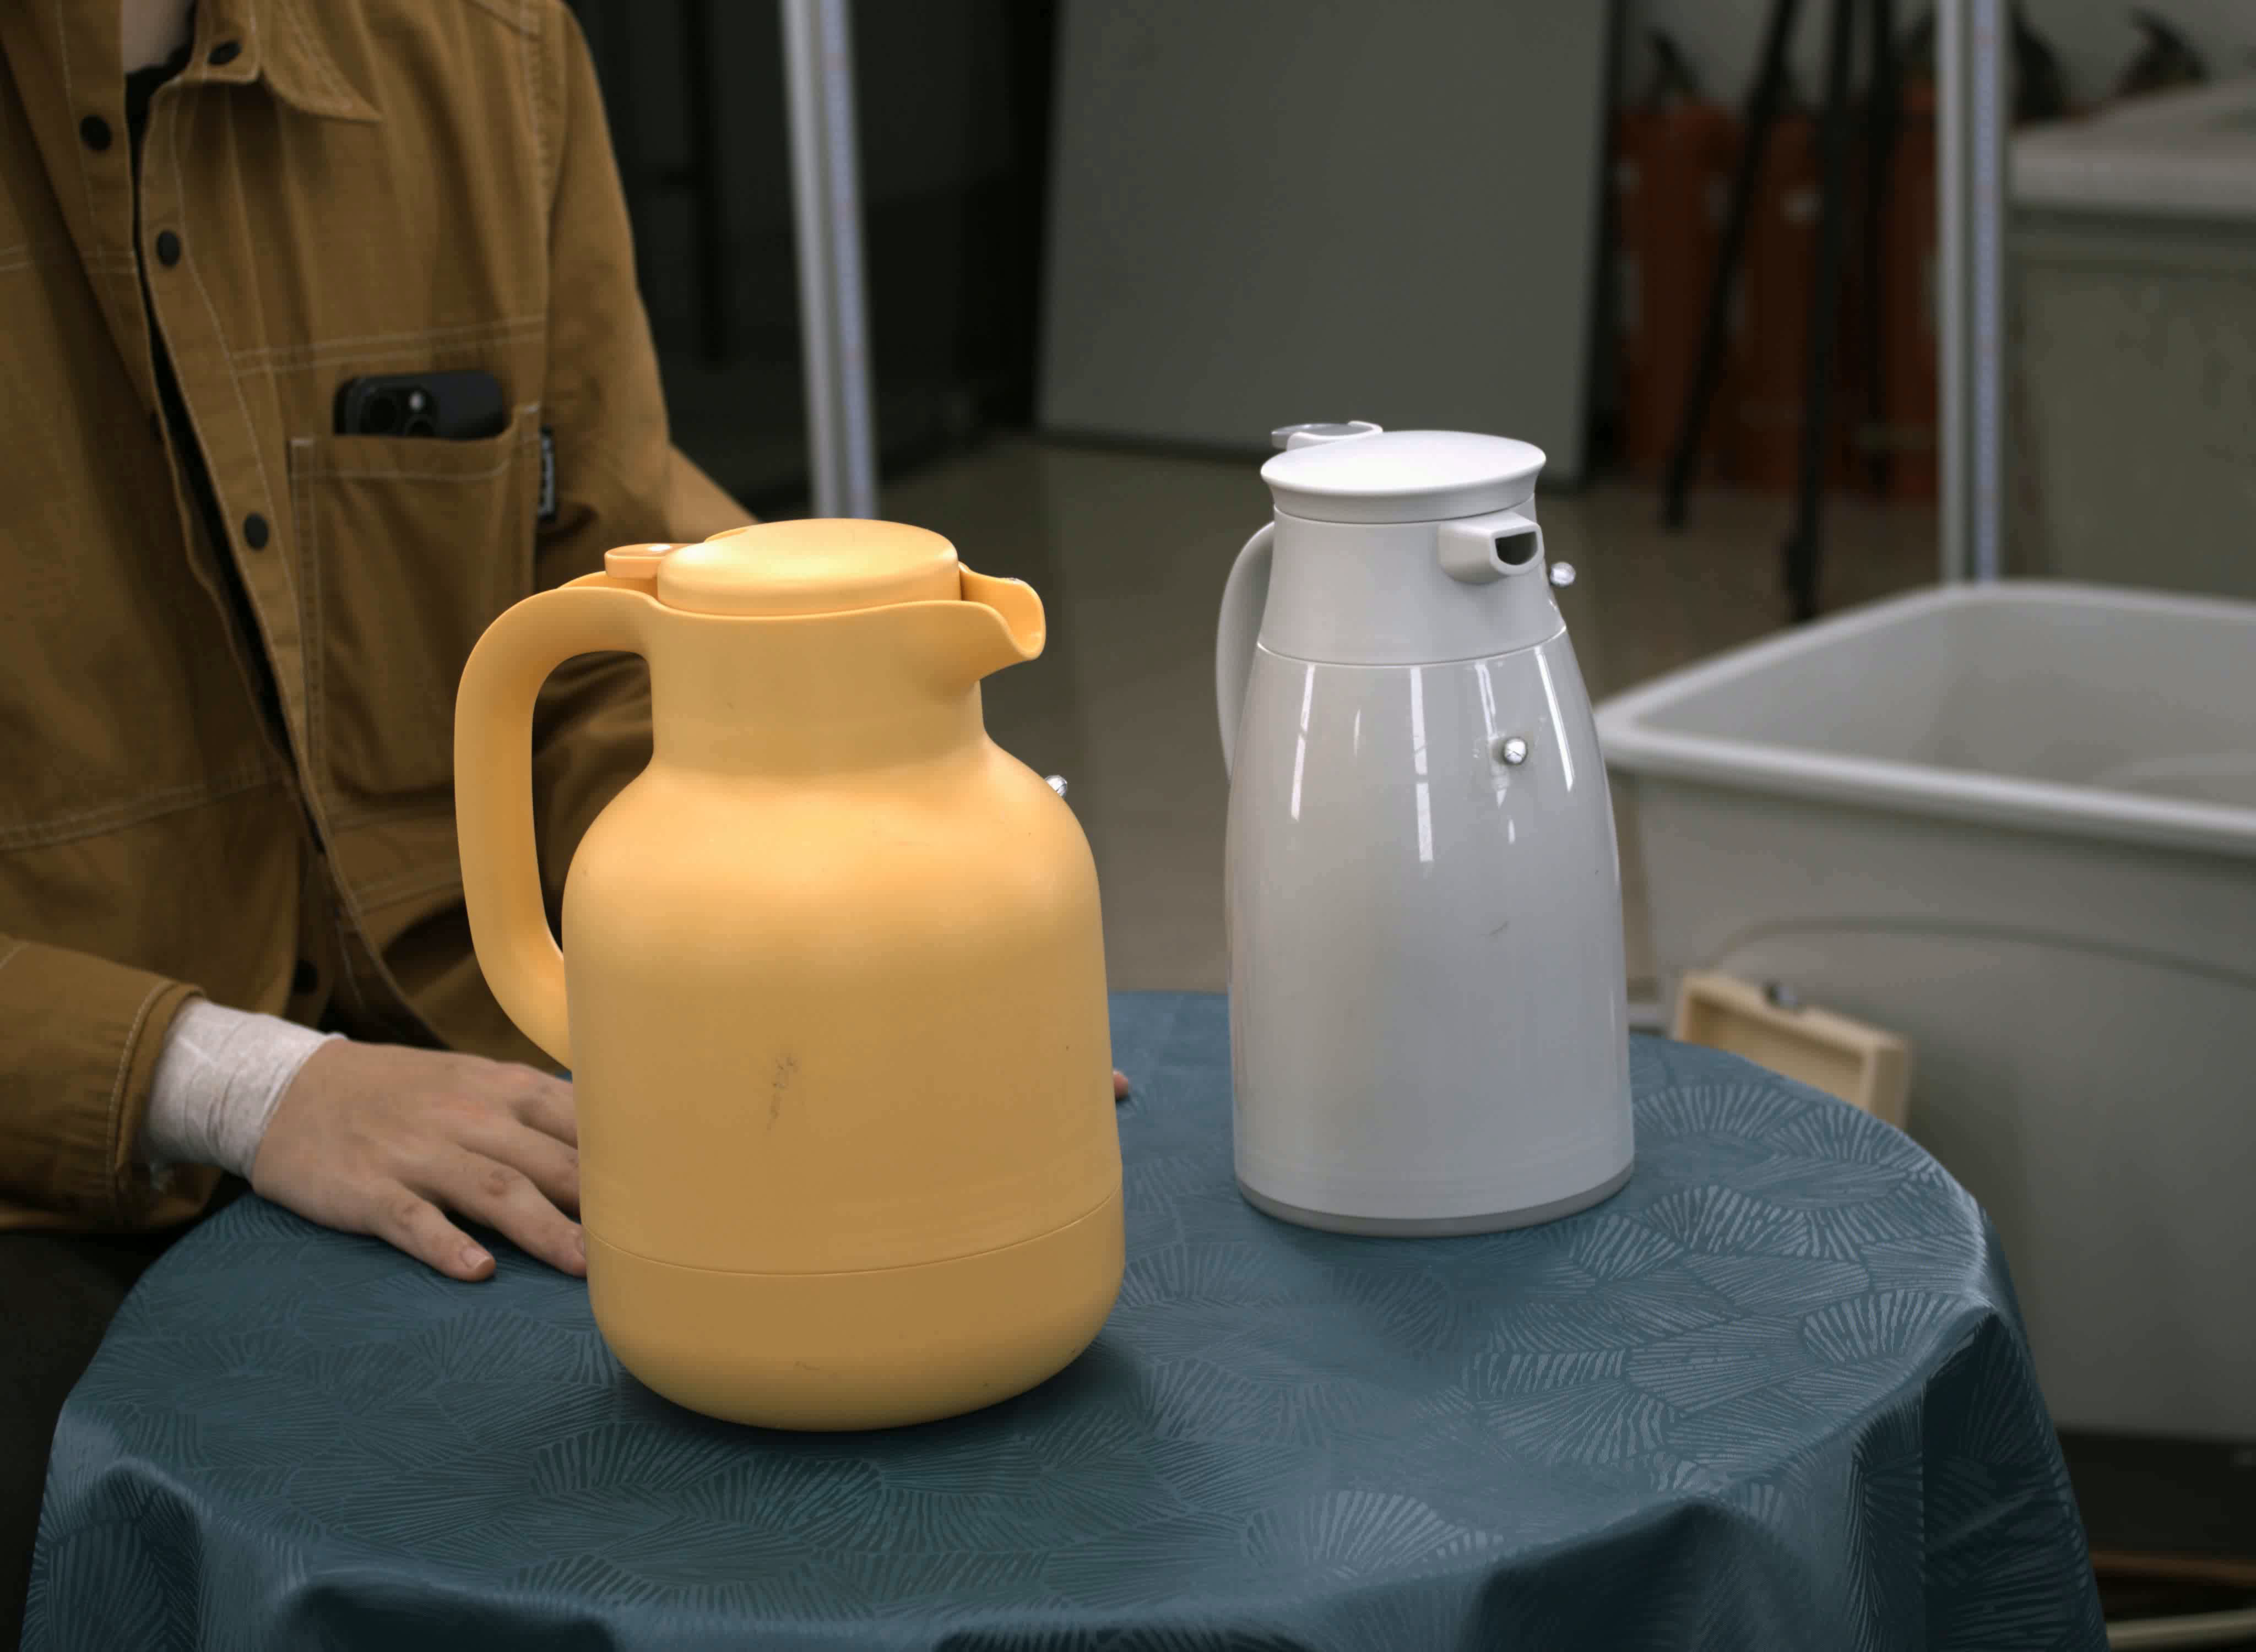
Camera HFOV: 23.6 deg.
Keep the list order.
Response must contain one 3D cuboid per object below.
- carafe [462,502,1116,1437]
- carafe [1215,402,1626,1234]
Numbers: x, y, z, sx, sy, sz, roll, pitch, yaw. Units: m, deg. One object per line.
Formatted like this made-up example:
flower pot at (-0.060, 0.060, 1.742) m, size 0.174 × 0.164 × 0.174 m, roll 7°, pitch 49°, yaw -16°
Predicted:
carafe at (-0.103, 0.036, 1.604) m, size 0.203 × 0.263 × 0.161 m, roll 5°, pitch 14°, yaw 28°
carafe at (0.082, -0.010, 1.756) m, size 0.129 × 0.251 × 0.169 m, roll -11°, pitch 15°, yaw -29°
